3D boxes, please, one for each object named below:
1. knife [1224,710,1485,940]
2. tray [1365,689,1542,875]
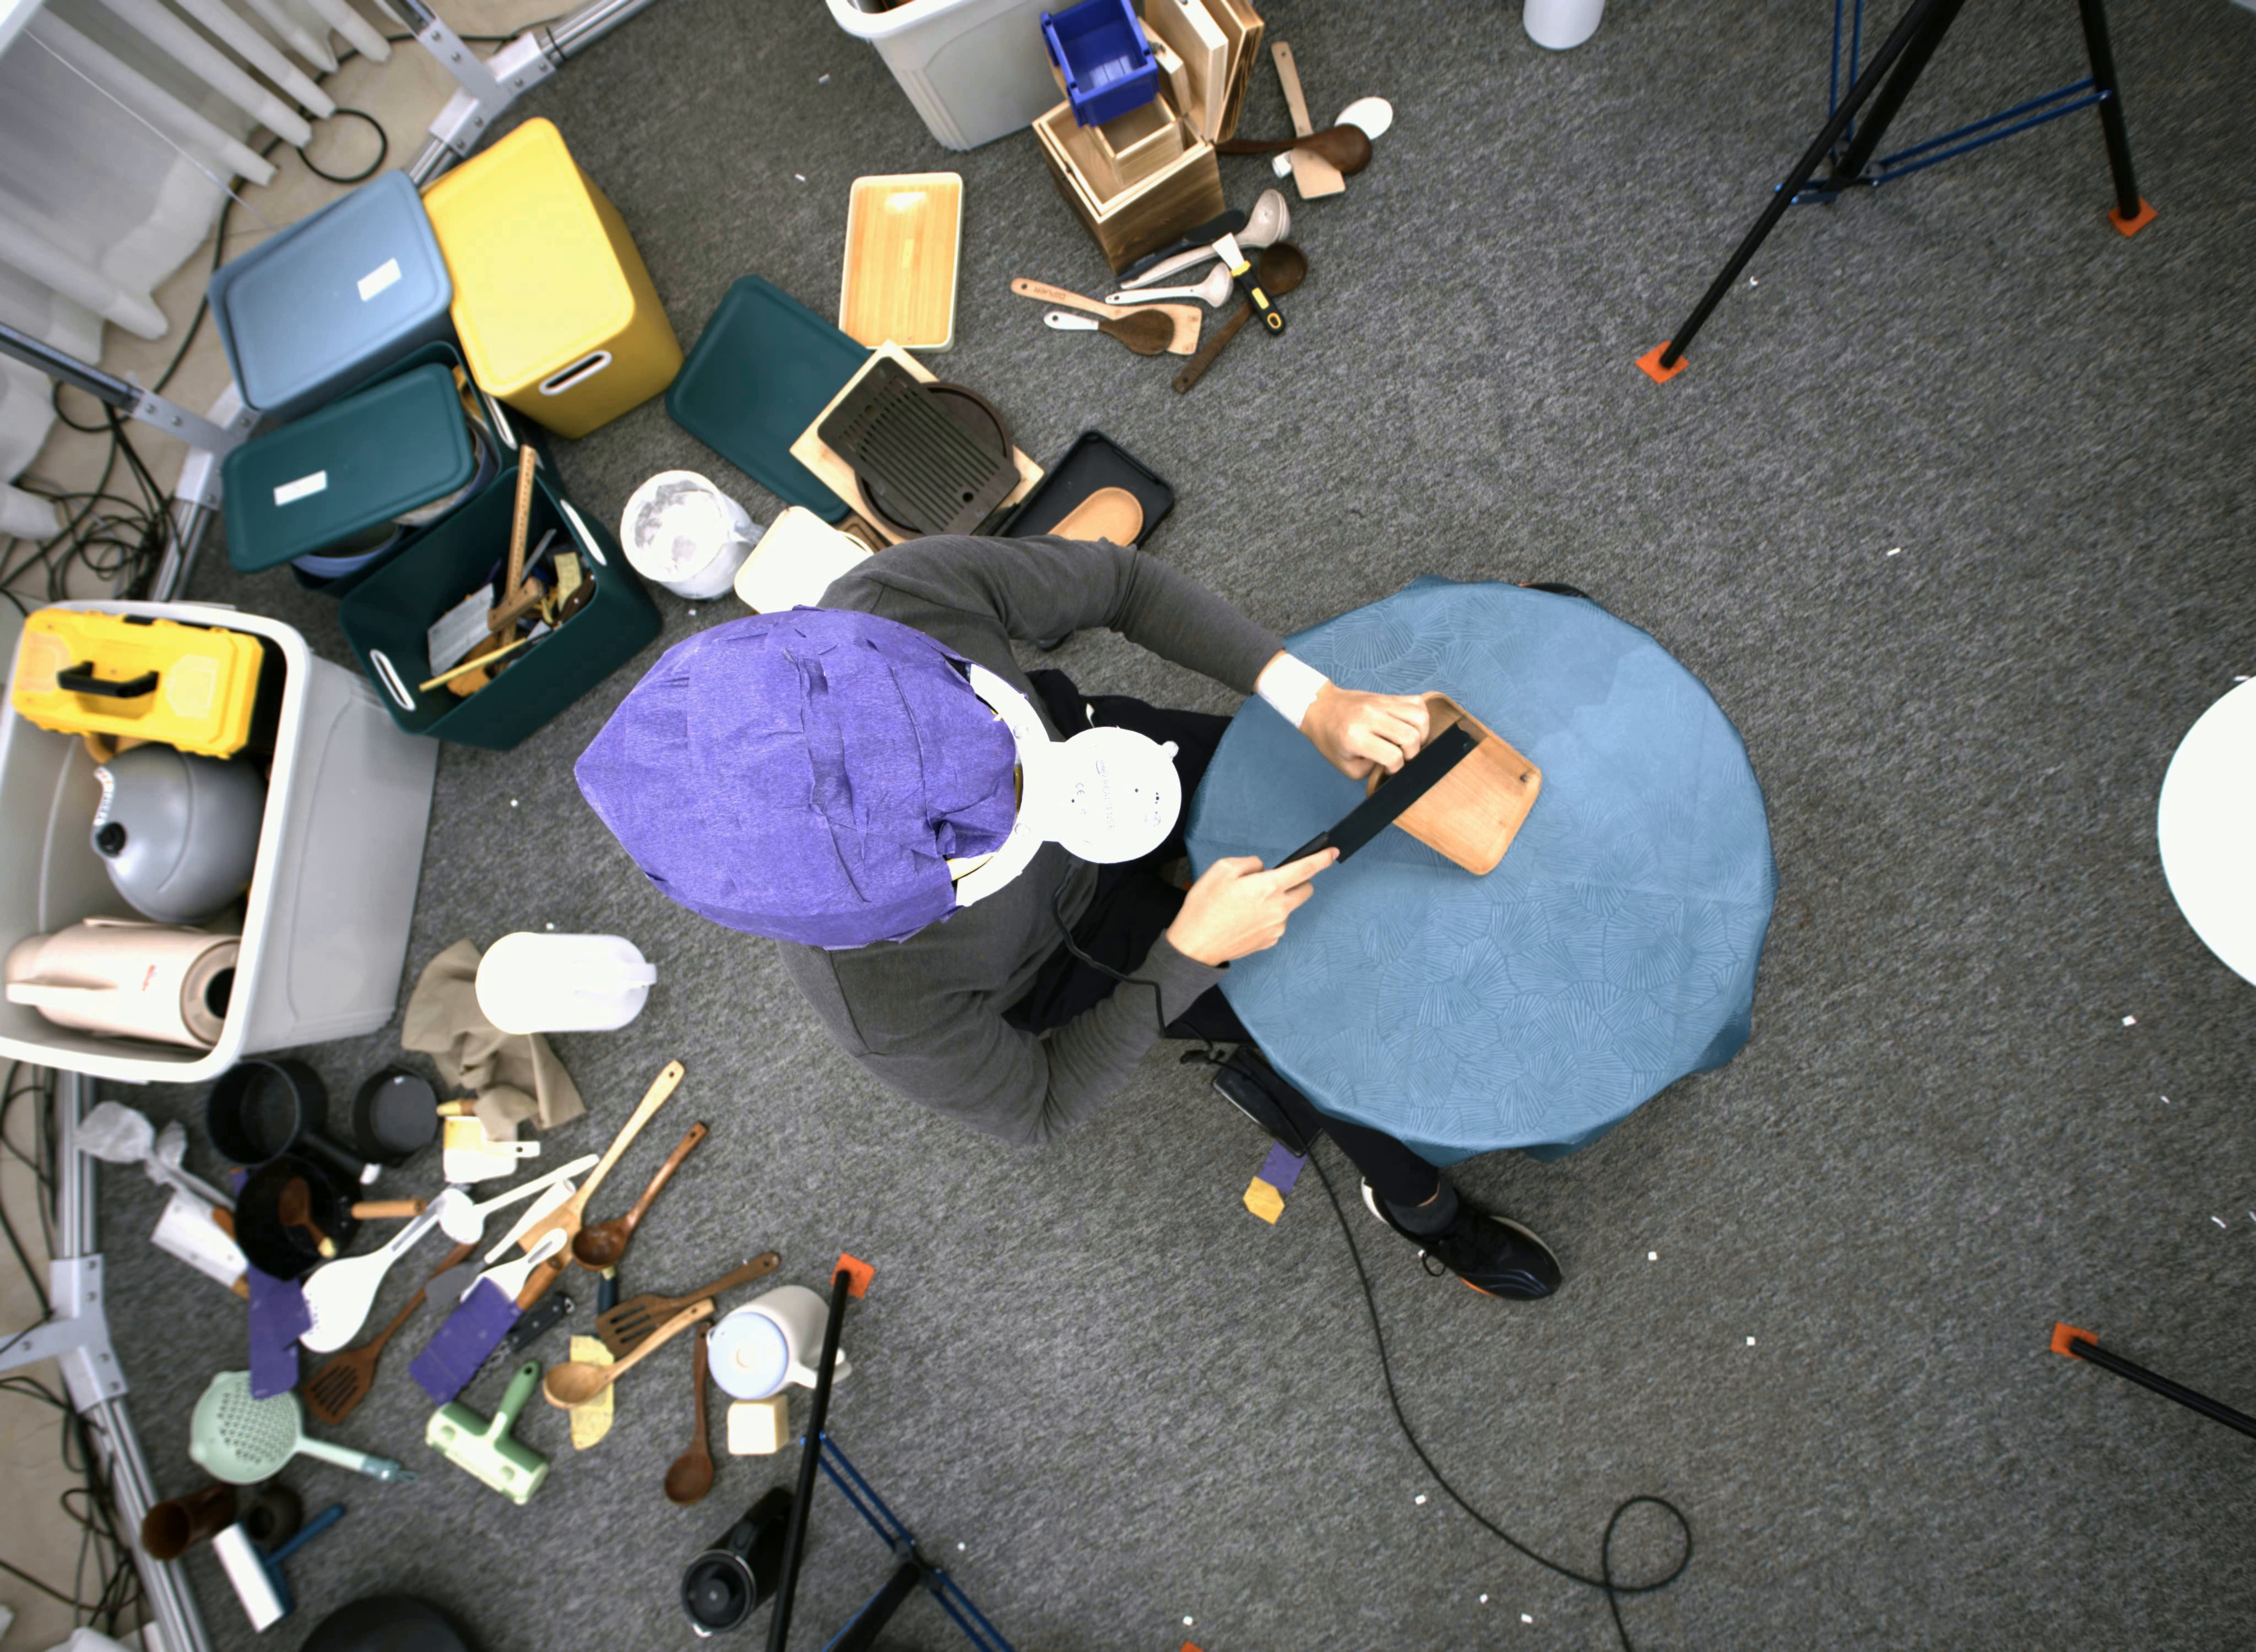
[{"bbox_3d":[0.208,0.002,1.273,0.304,0.082,0.020,-40,56,6],"label":"knife"},{"bbox_3d":[0.322,-0.041,1.348,0.023,0.252,0.131,33,94,46],"label":"tray"}]
